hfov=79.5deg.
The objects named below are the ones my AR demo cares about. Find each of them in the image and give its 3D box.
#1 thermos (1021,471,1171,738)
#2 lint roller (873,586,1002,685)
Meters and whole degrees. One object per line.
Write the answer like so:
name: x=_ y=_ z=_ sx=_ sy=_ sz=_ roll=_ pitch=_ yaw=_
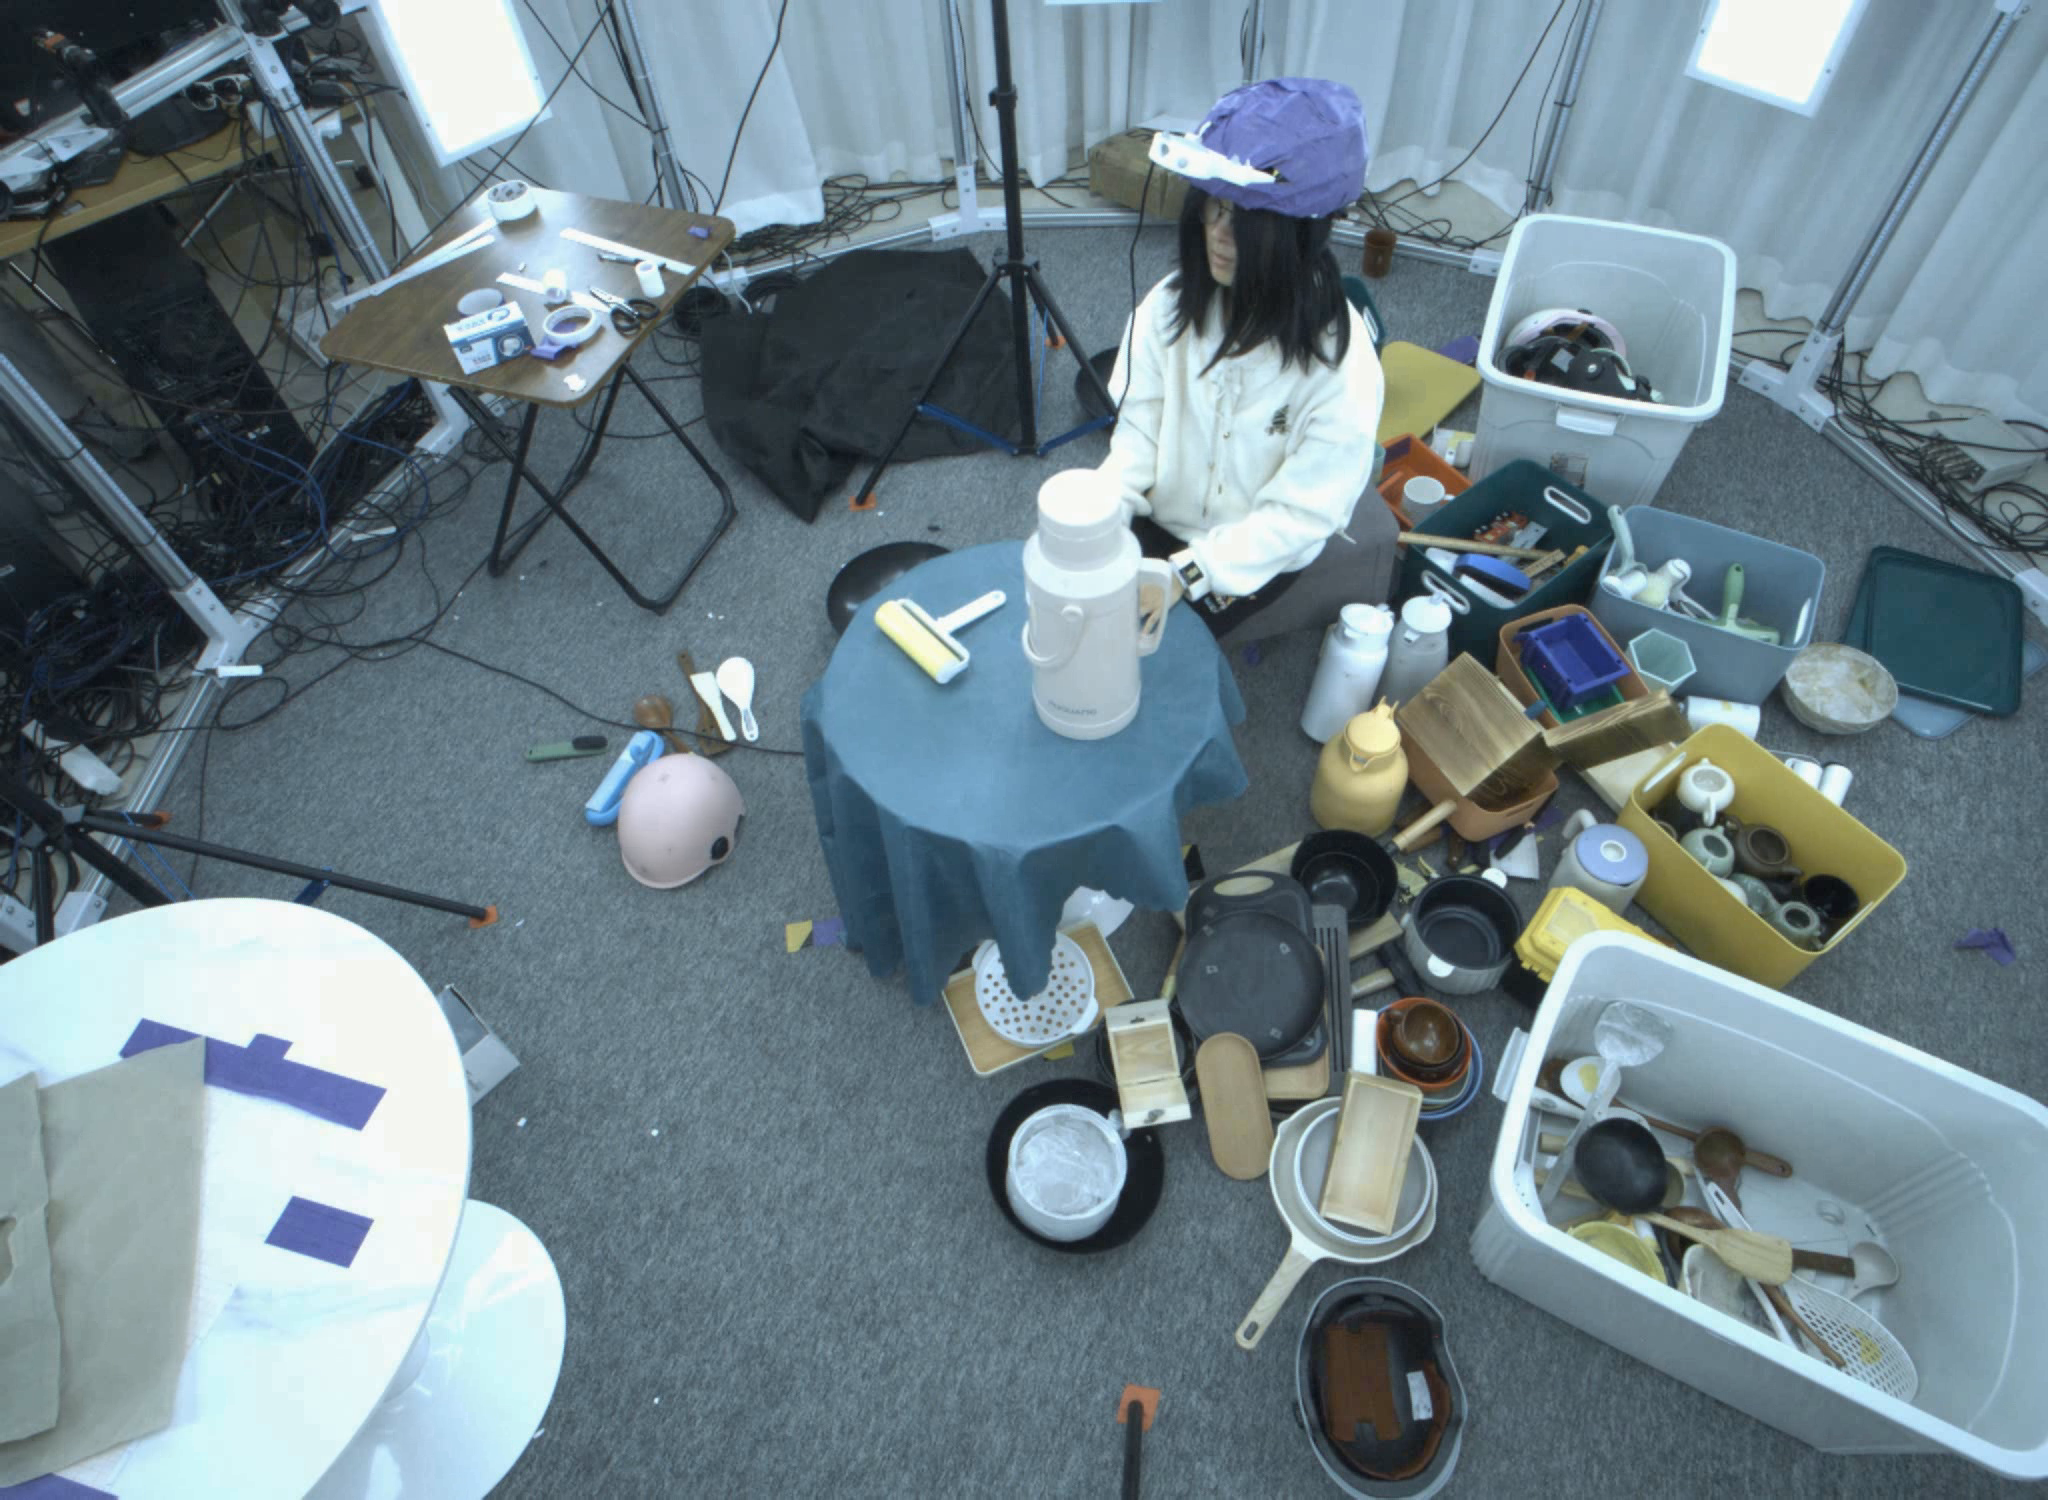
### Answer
thermos: x=0.094 y=-0.192 z=1.677 sx=0.206 sy=0.411 sz=0.174 roll=6 pitch=55 yaw=8
lint roller: x=-0.113 y=-0.208 z=1.905 sx=0.193 sy=0.052 sz=0.171 roll=-40 pitch=62 yaw=-16
